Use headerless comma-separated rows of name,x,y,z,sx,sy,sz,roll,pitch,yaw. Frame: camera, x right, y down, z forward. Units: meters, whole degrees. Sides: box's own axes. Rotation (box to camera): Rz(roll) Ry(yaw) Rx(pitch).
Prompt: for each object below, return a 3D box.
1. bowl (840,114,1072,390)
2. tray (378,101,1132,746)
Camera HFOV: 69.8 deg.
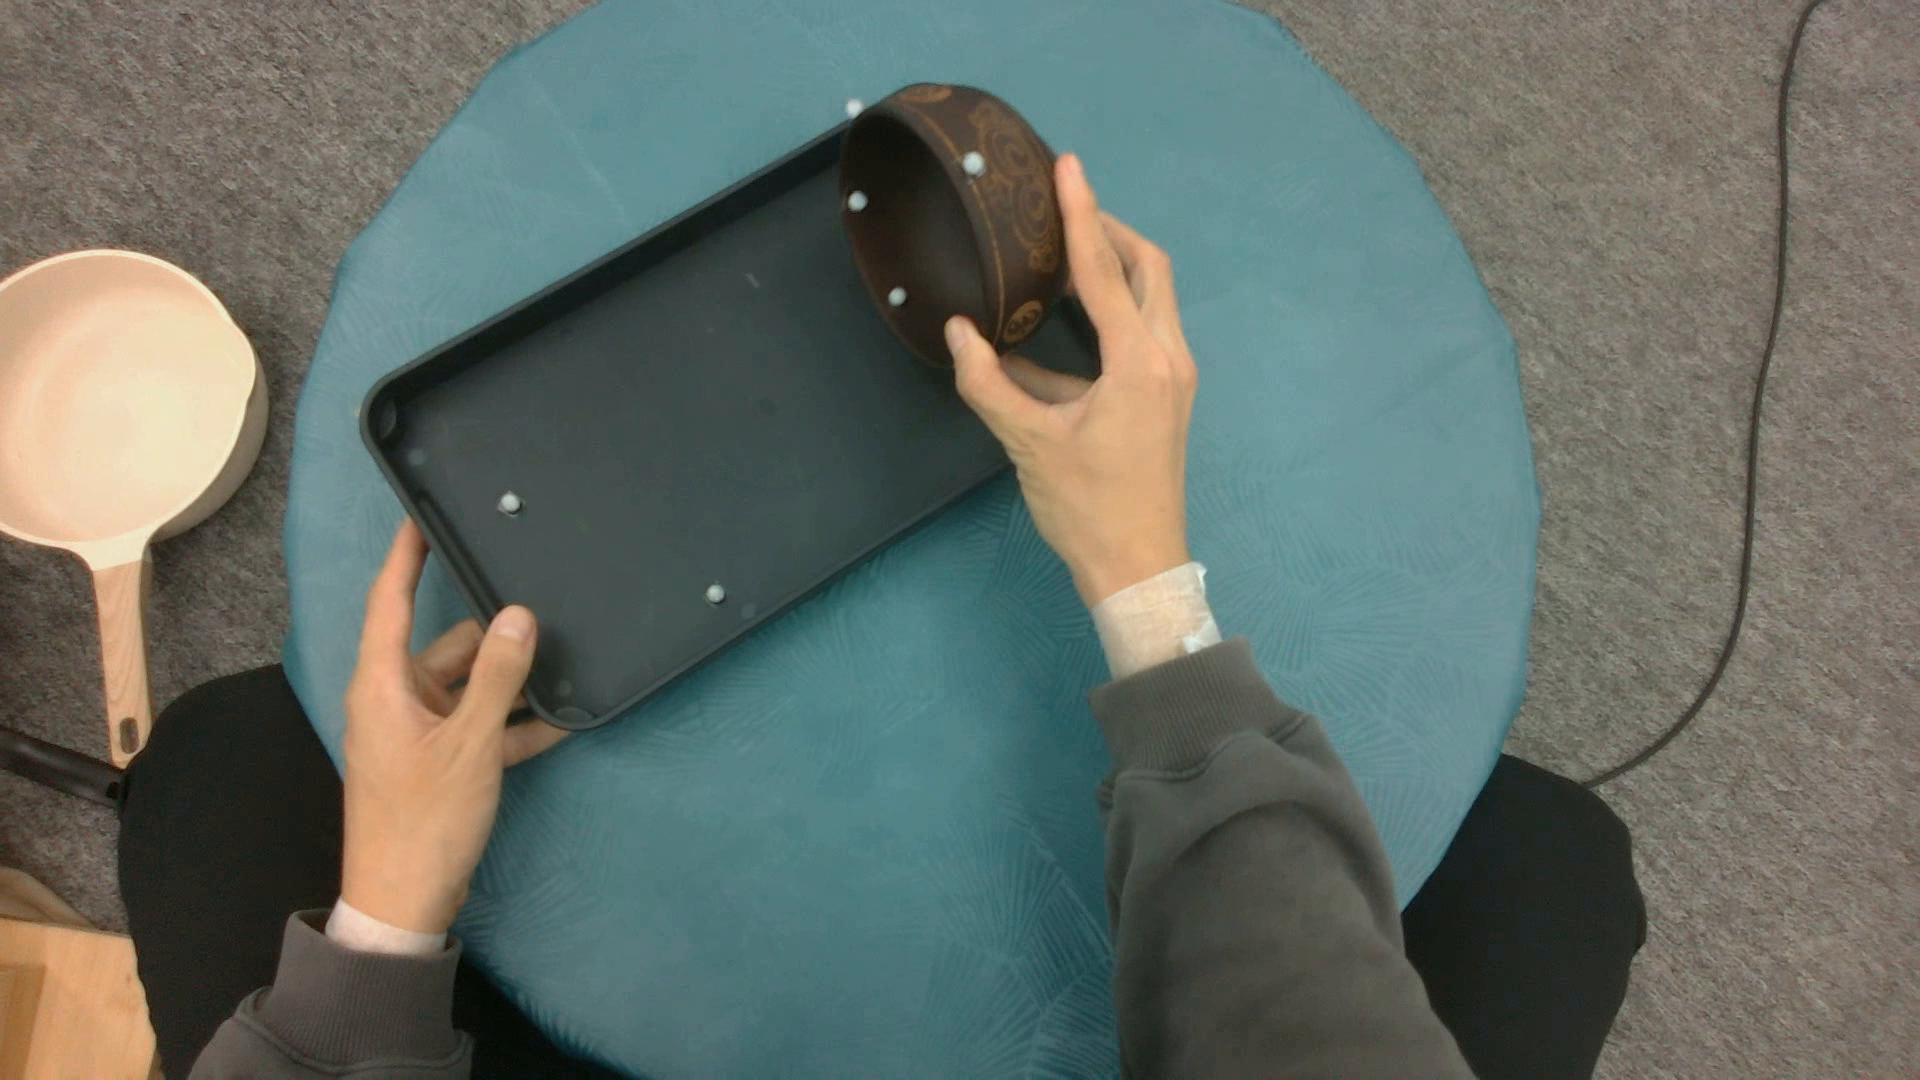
bowl,0.006,-0.133,0.615,0.070,0.117,0.118,-29,82,-25
tray,-0.091,-0.060,0.654,0.318,0.037,0.184,-34,83,-11
